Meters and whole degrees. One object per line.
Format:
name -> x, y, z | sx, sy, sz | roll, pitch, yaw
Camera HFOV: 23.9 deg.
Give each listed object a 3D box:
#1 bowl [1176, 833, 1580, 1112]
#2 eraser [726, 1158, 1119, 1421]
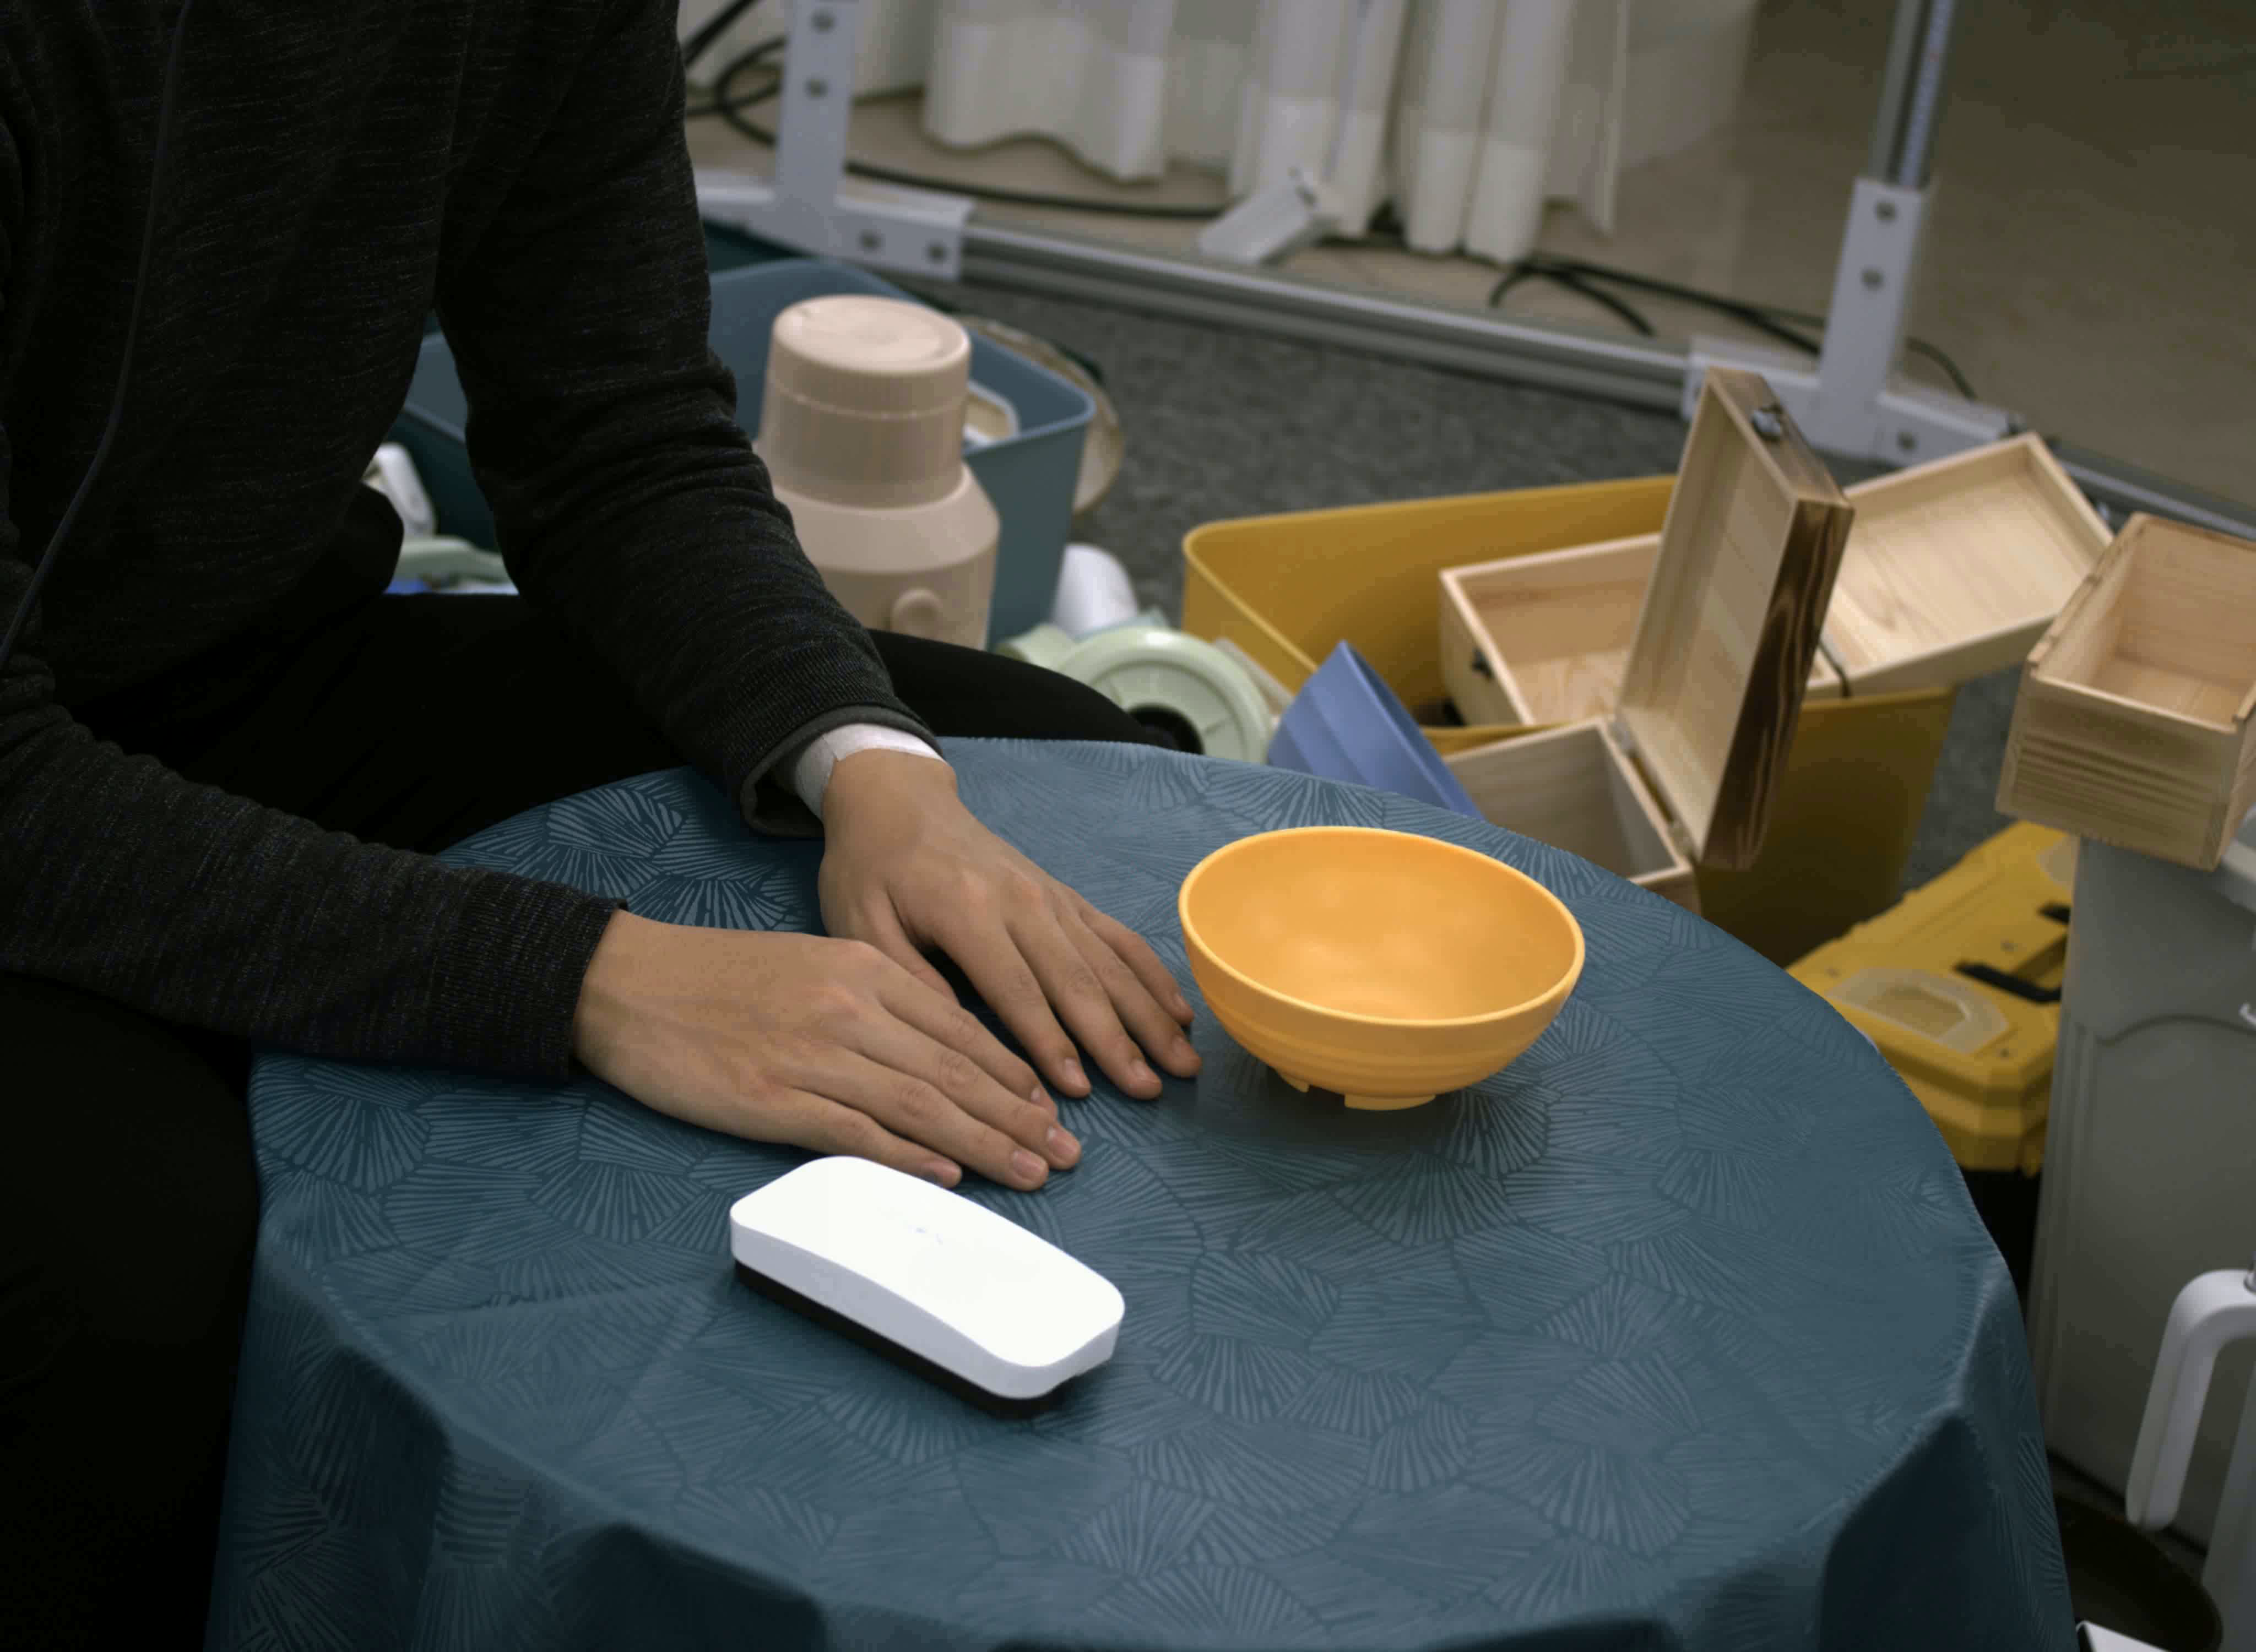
bowl -> 0.085, 0.060, 1.882 | 0.145, 0.060, 0.146 | 5, 25, -3
eraser -> -0.066, 0.145, 1.711 | 0.132, 0.034, 0.063 | 25, 31, 31
